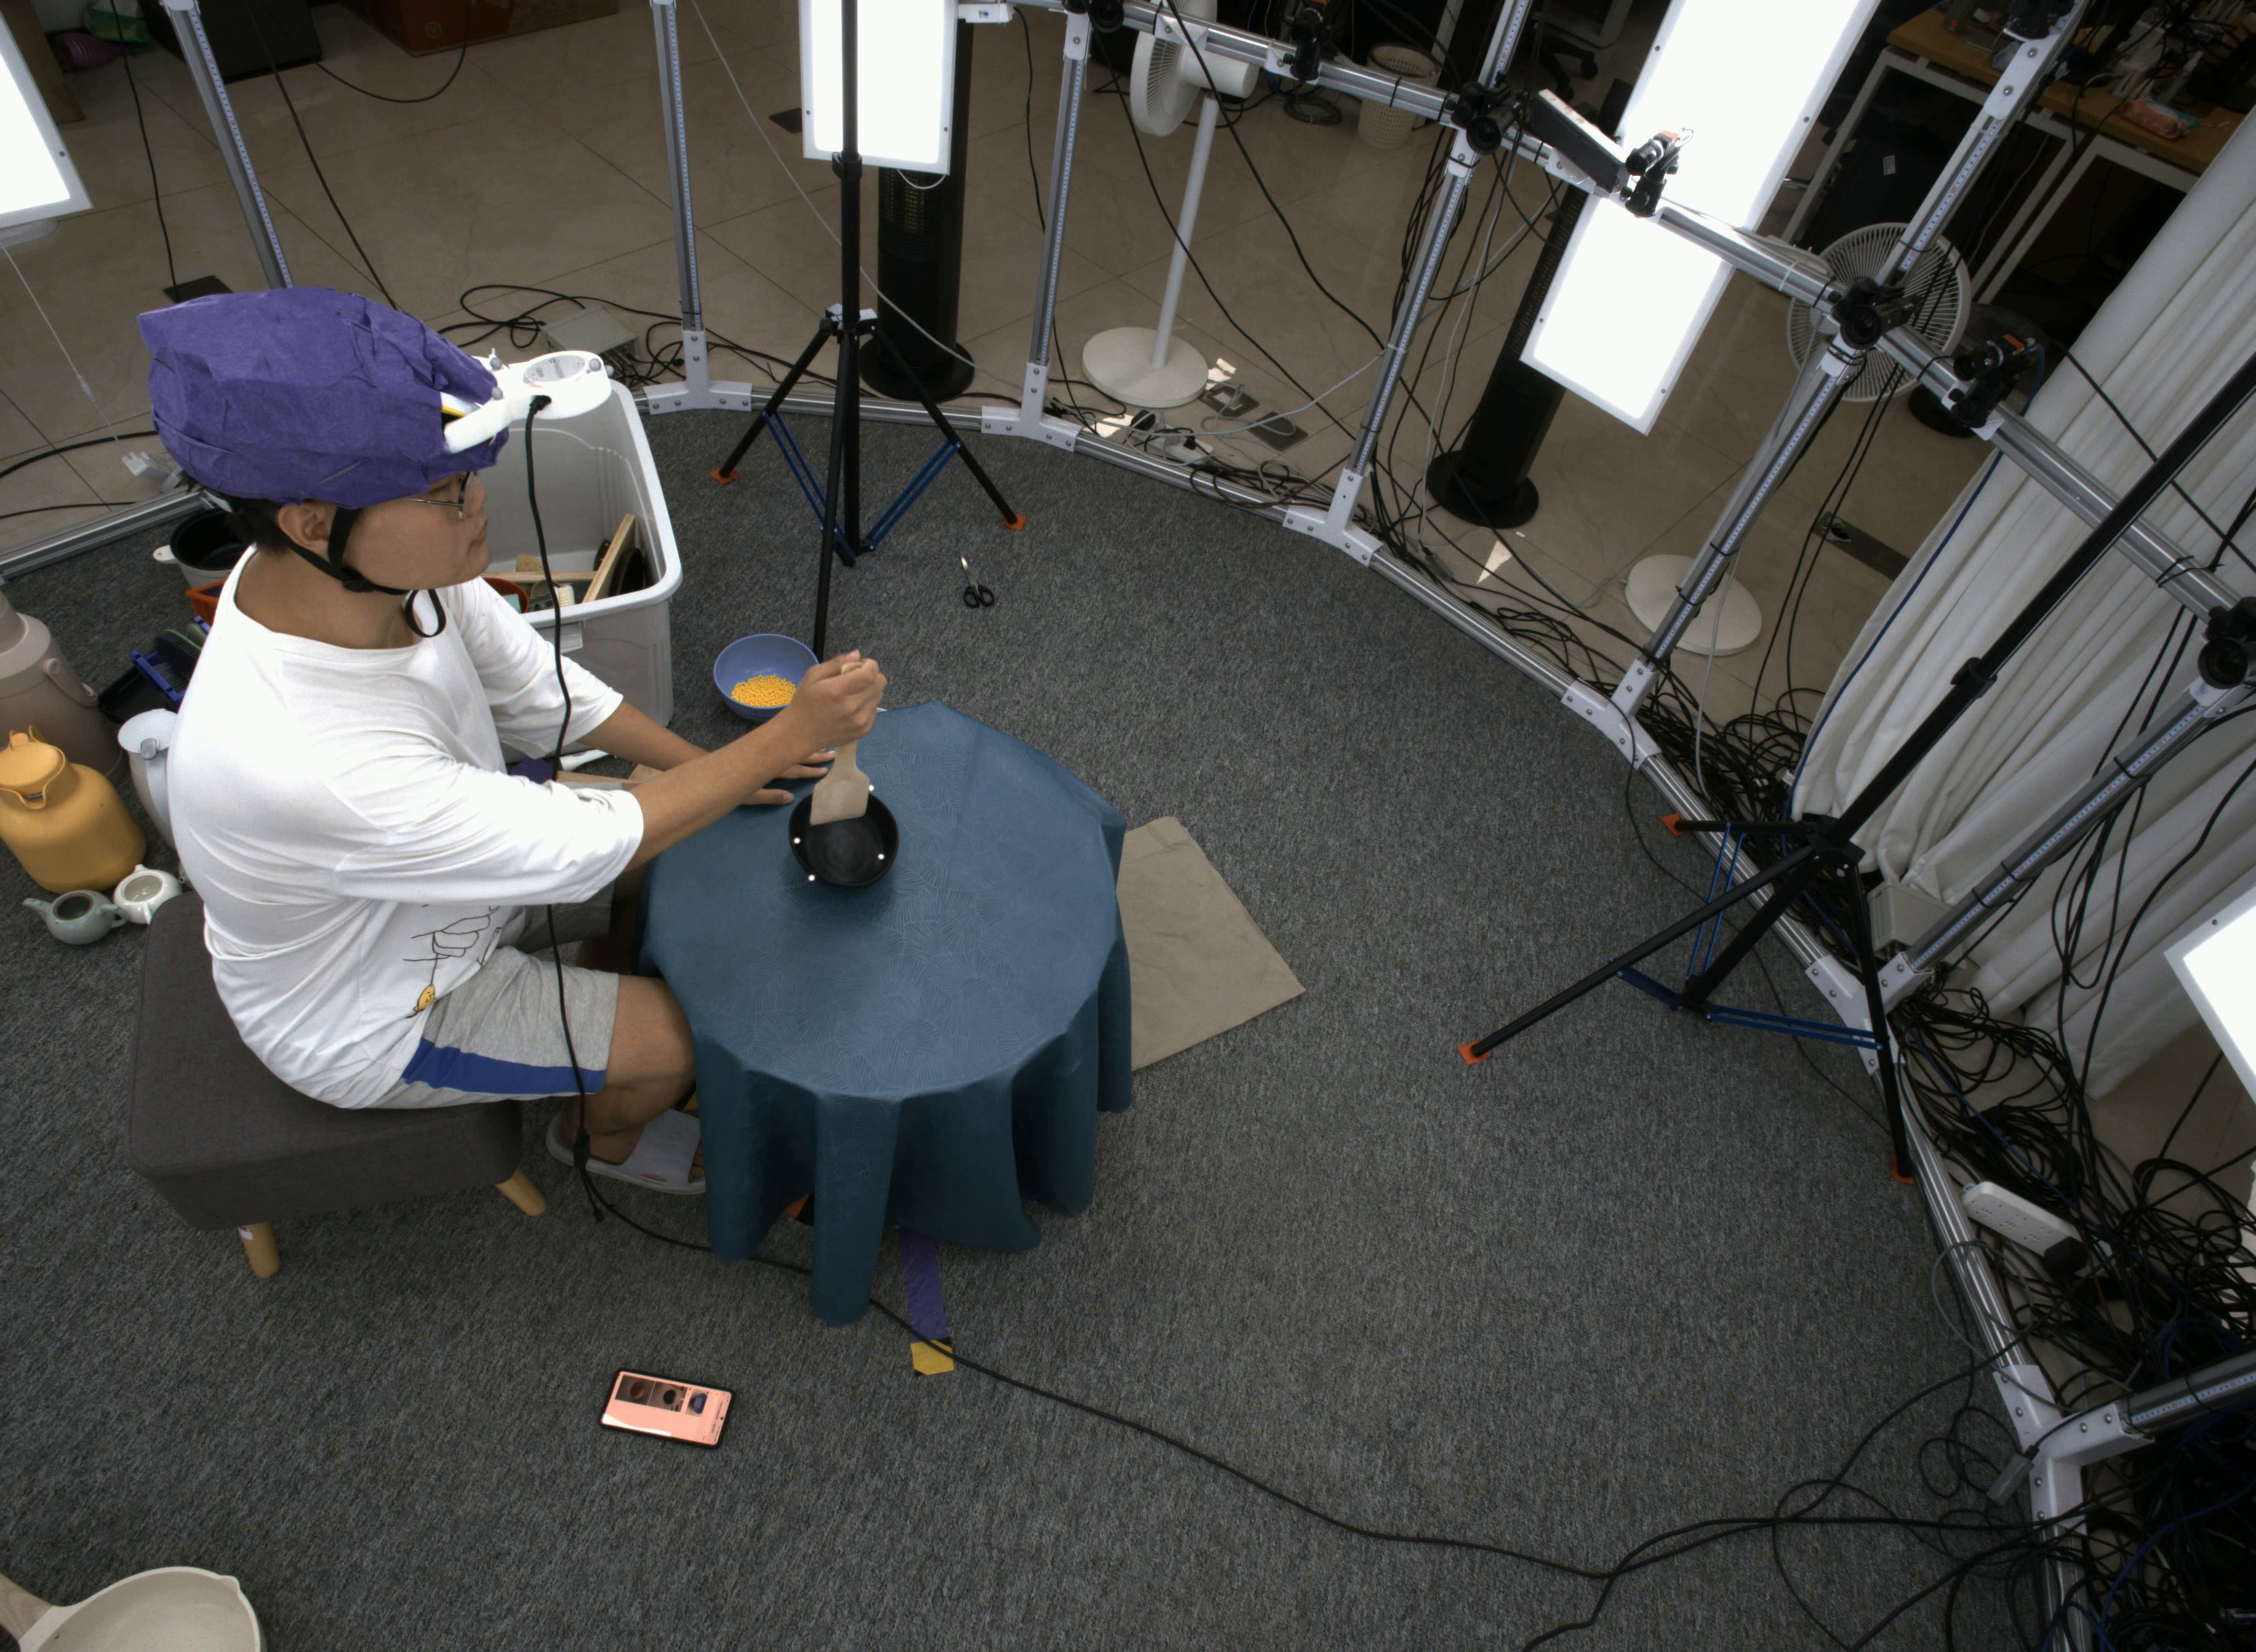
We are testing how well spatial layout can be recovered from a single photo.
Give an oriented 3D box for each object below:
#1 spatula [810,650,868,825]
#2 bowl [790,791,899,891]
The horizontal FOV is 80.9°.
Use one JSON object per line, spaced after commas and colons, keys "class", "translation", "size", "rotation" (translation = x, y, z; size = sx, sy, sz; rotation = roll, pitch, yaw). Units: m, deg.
{"class": "spatula", "translation": [-0.337, -0.098, 1.529], "size": [0.073, 0.298, 0.010], "rotation": [-12, 56, -24]}
{"class": "bowl", "translation": [-0.368, 0.024, 1.689], "size": [0.138, 0.068, 0.166], "rotation": [-14, 56, -21]}
